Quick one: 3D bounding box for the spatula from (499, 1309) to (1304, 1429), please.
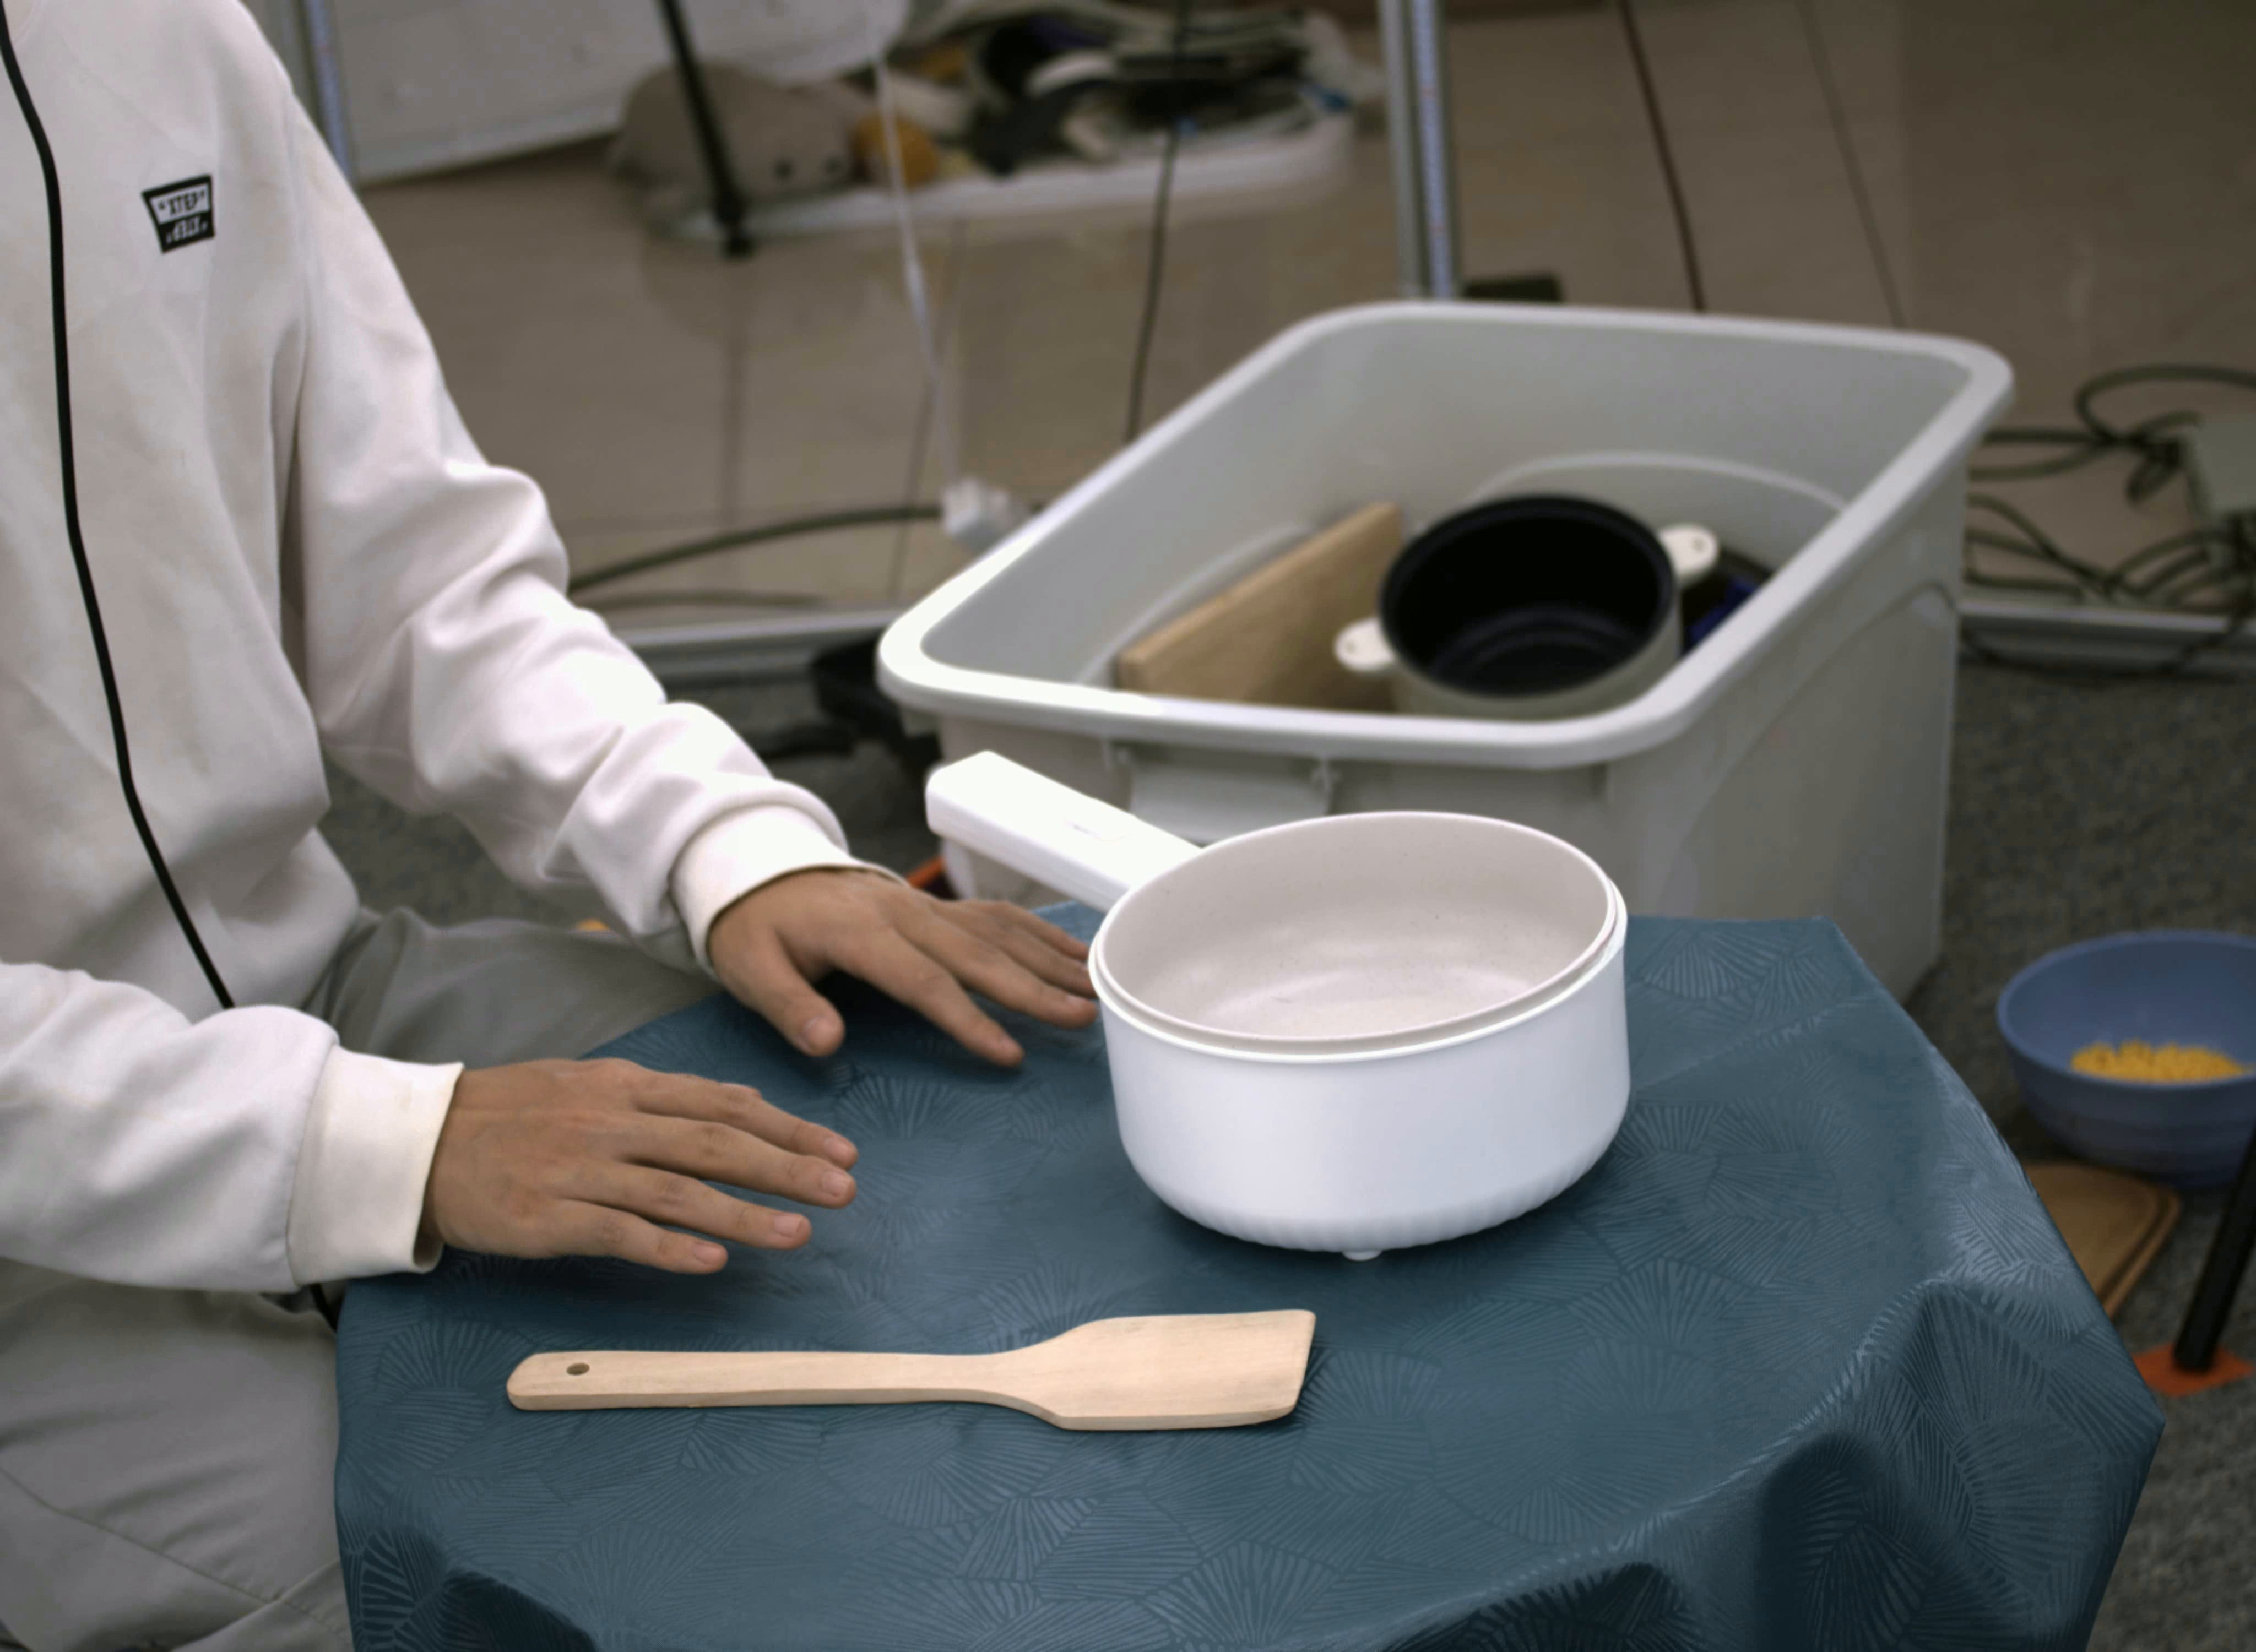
[{"bbox_3d":[-0.084,0.197,2.032,0.292,0.011,0.071,-2,26,10],"label":"spatula"}]

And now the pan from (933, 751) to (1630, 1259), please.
[{"bbox_3d":[0.044,0.061,2.186,0.200,0.103,0.351,-24,29,-31],"label":"pan"}]
